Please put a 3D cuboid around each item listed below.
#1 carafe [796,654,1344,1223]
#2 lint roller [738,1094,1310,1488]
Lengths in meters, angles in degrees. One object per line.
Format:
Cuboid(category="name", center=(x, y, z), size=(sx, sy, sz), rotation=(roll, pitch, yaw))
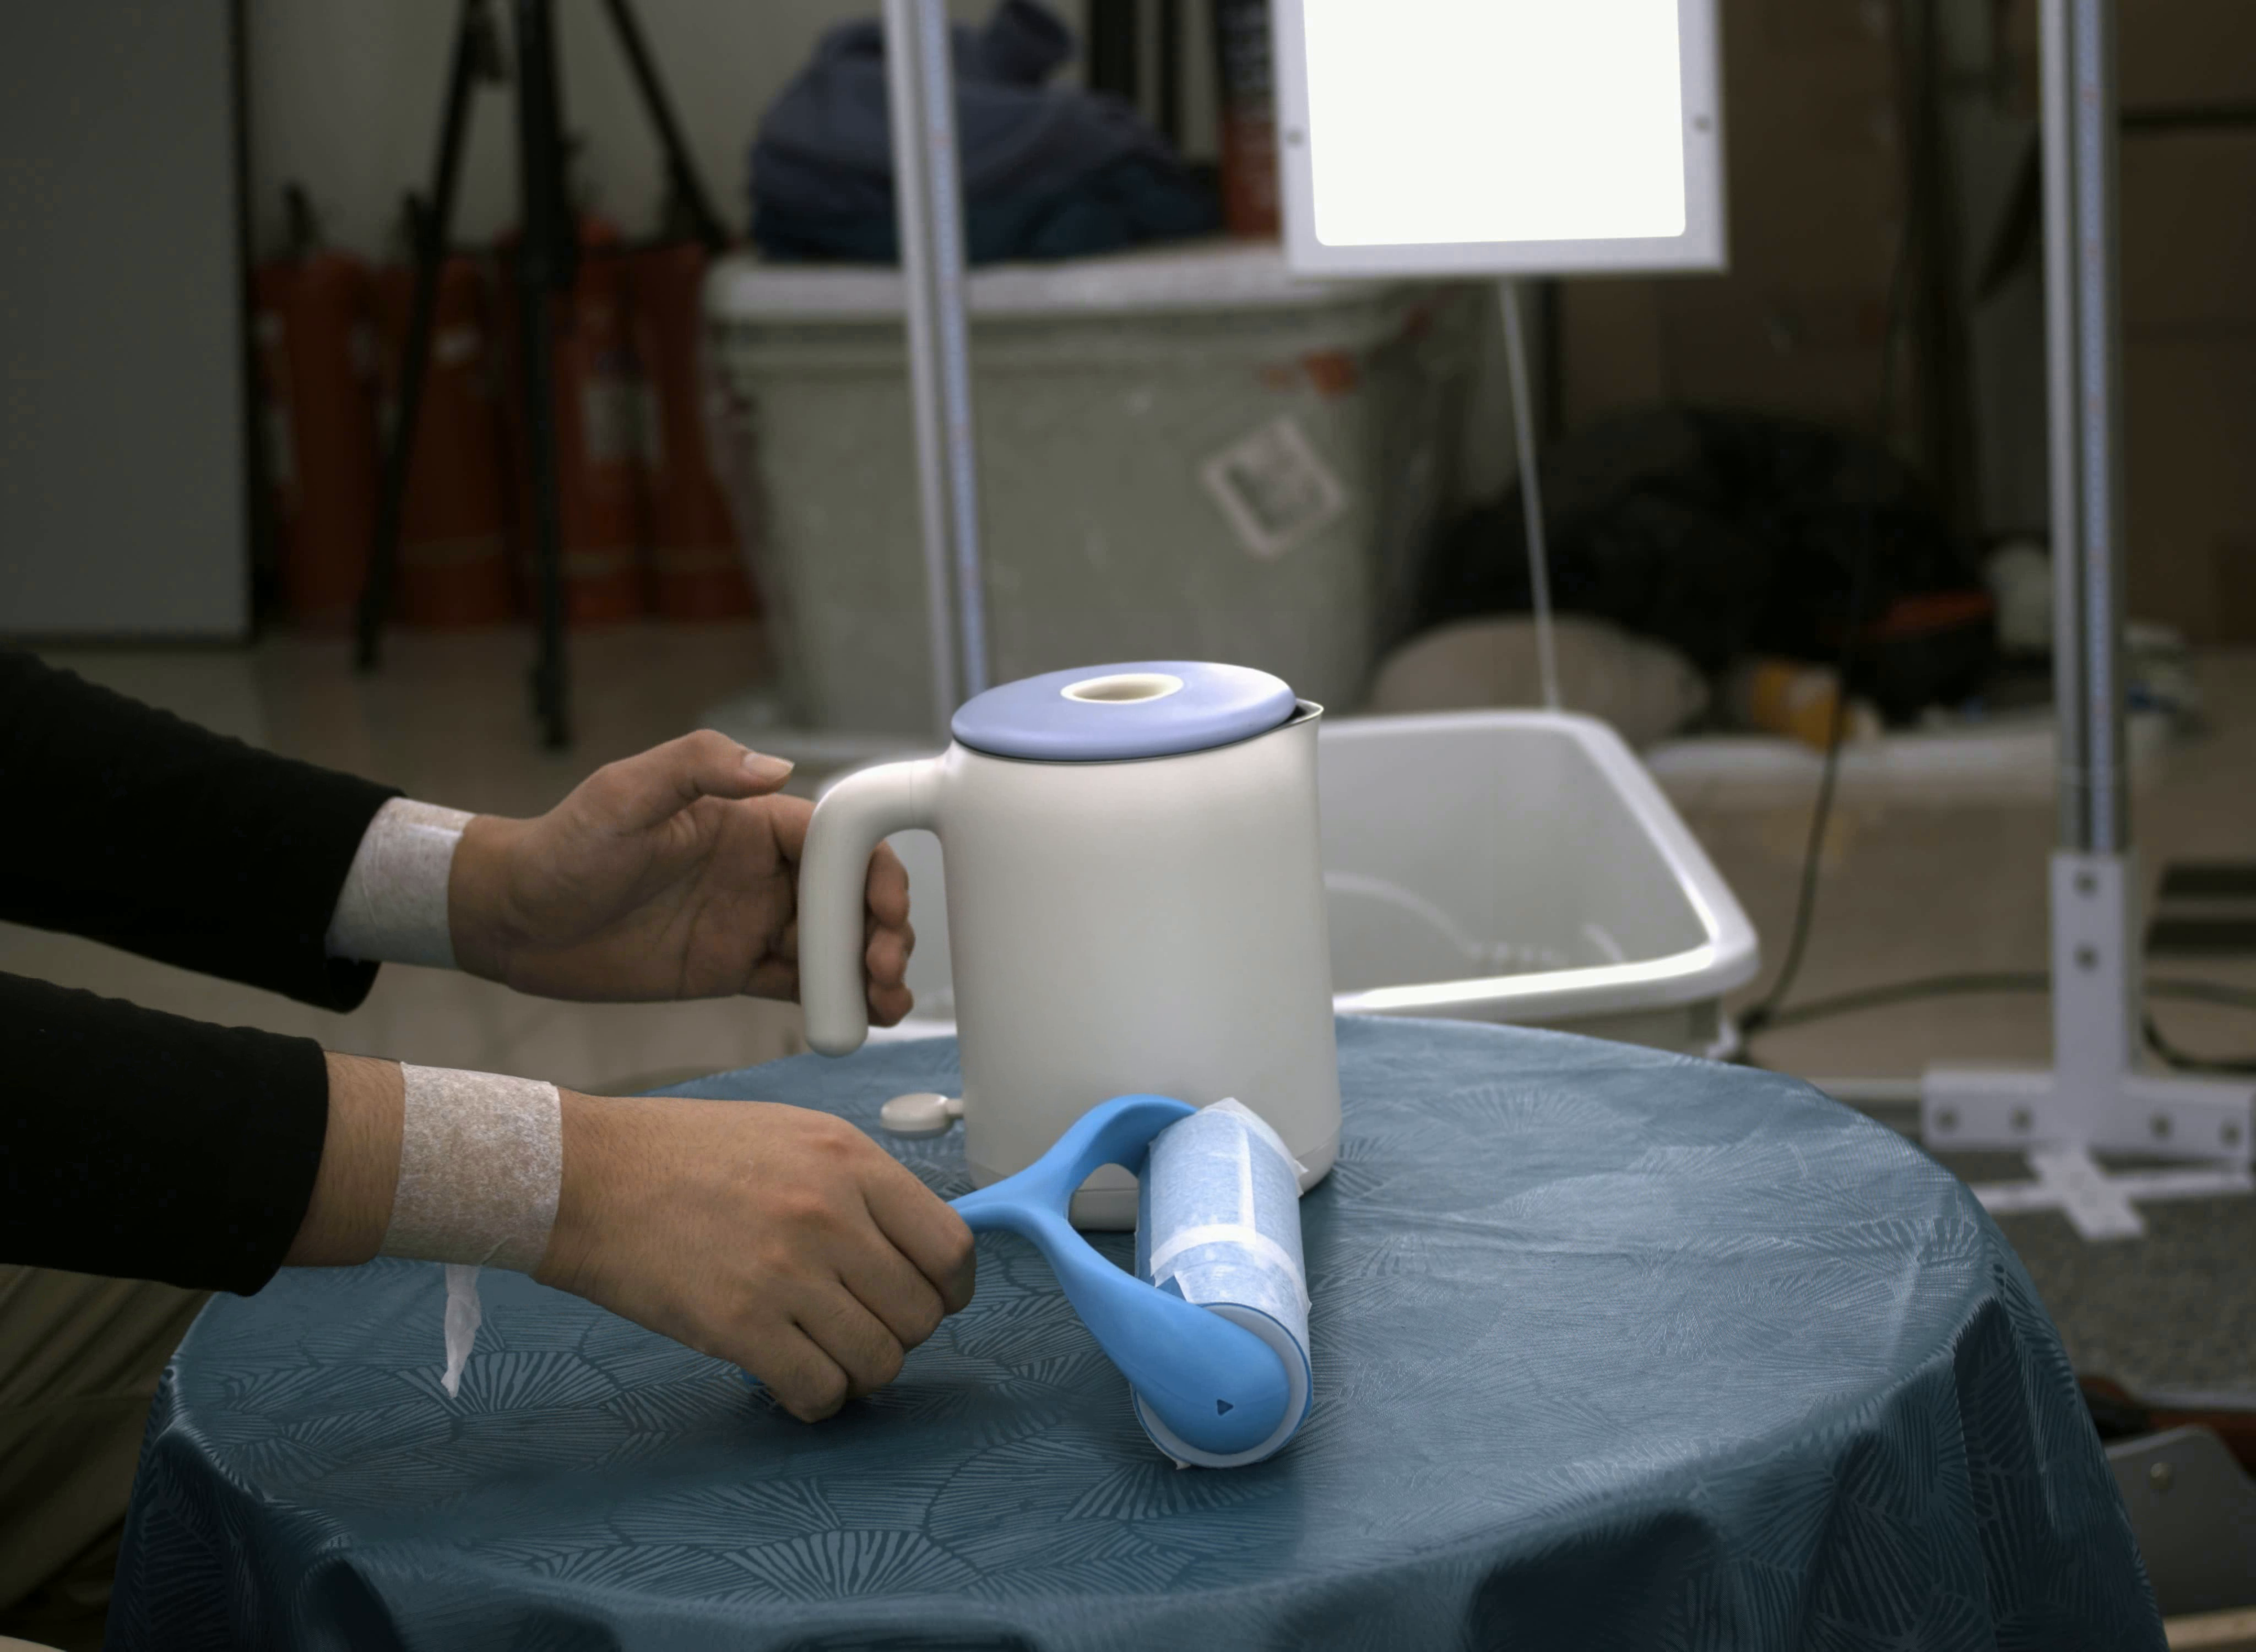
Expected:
Cuboid(category="carafe", center=(-0.020, 0.041, 1.892), size=(0.191, 0.183, 0.131), rotation=(-5, 13, 6))
Cuboid(category="lint roller", center=(-0.031, 0.142, 1.717), size=(0.180, 0.068, 0.228), rotation=(2, 17, -1))
